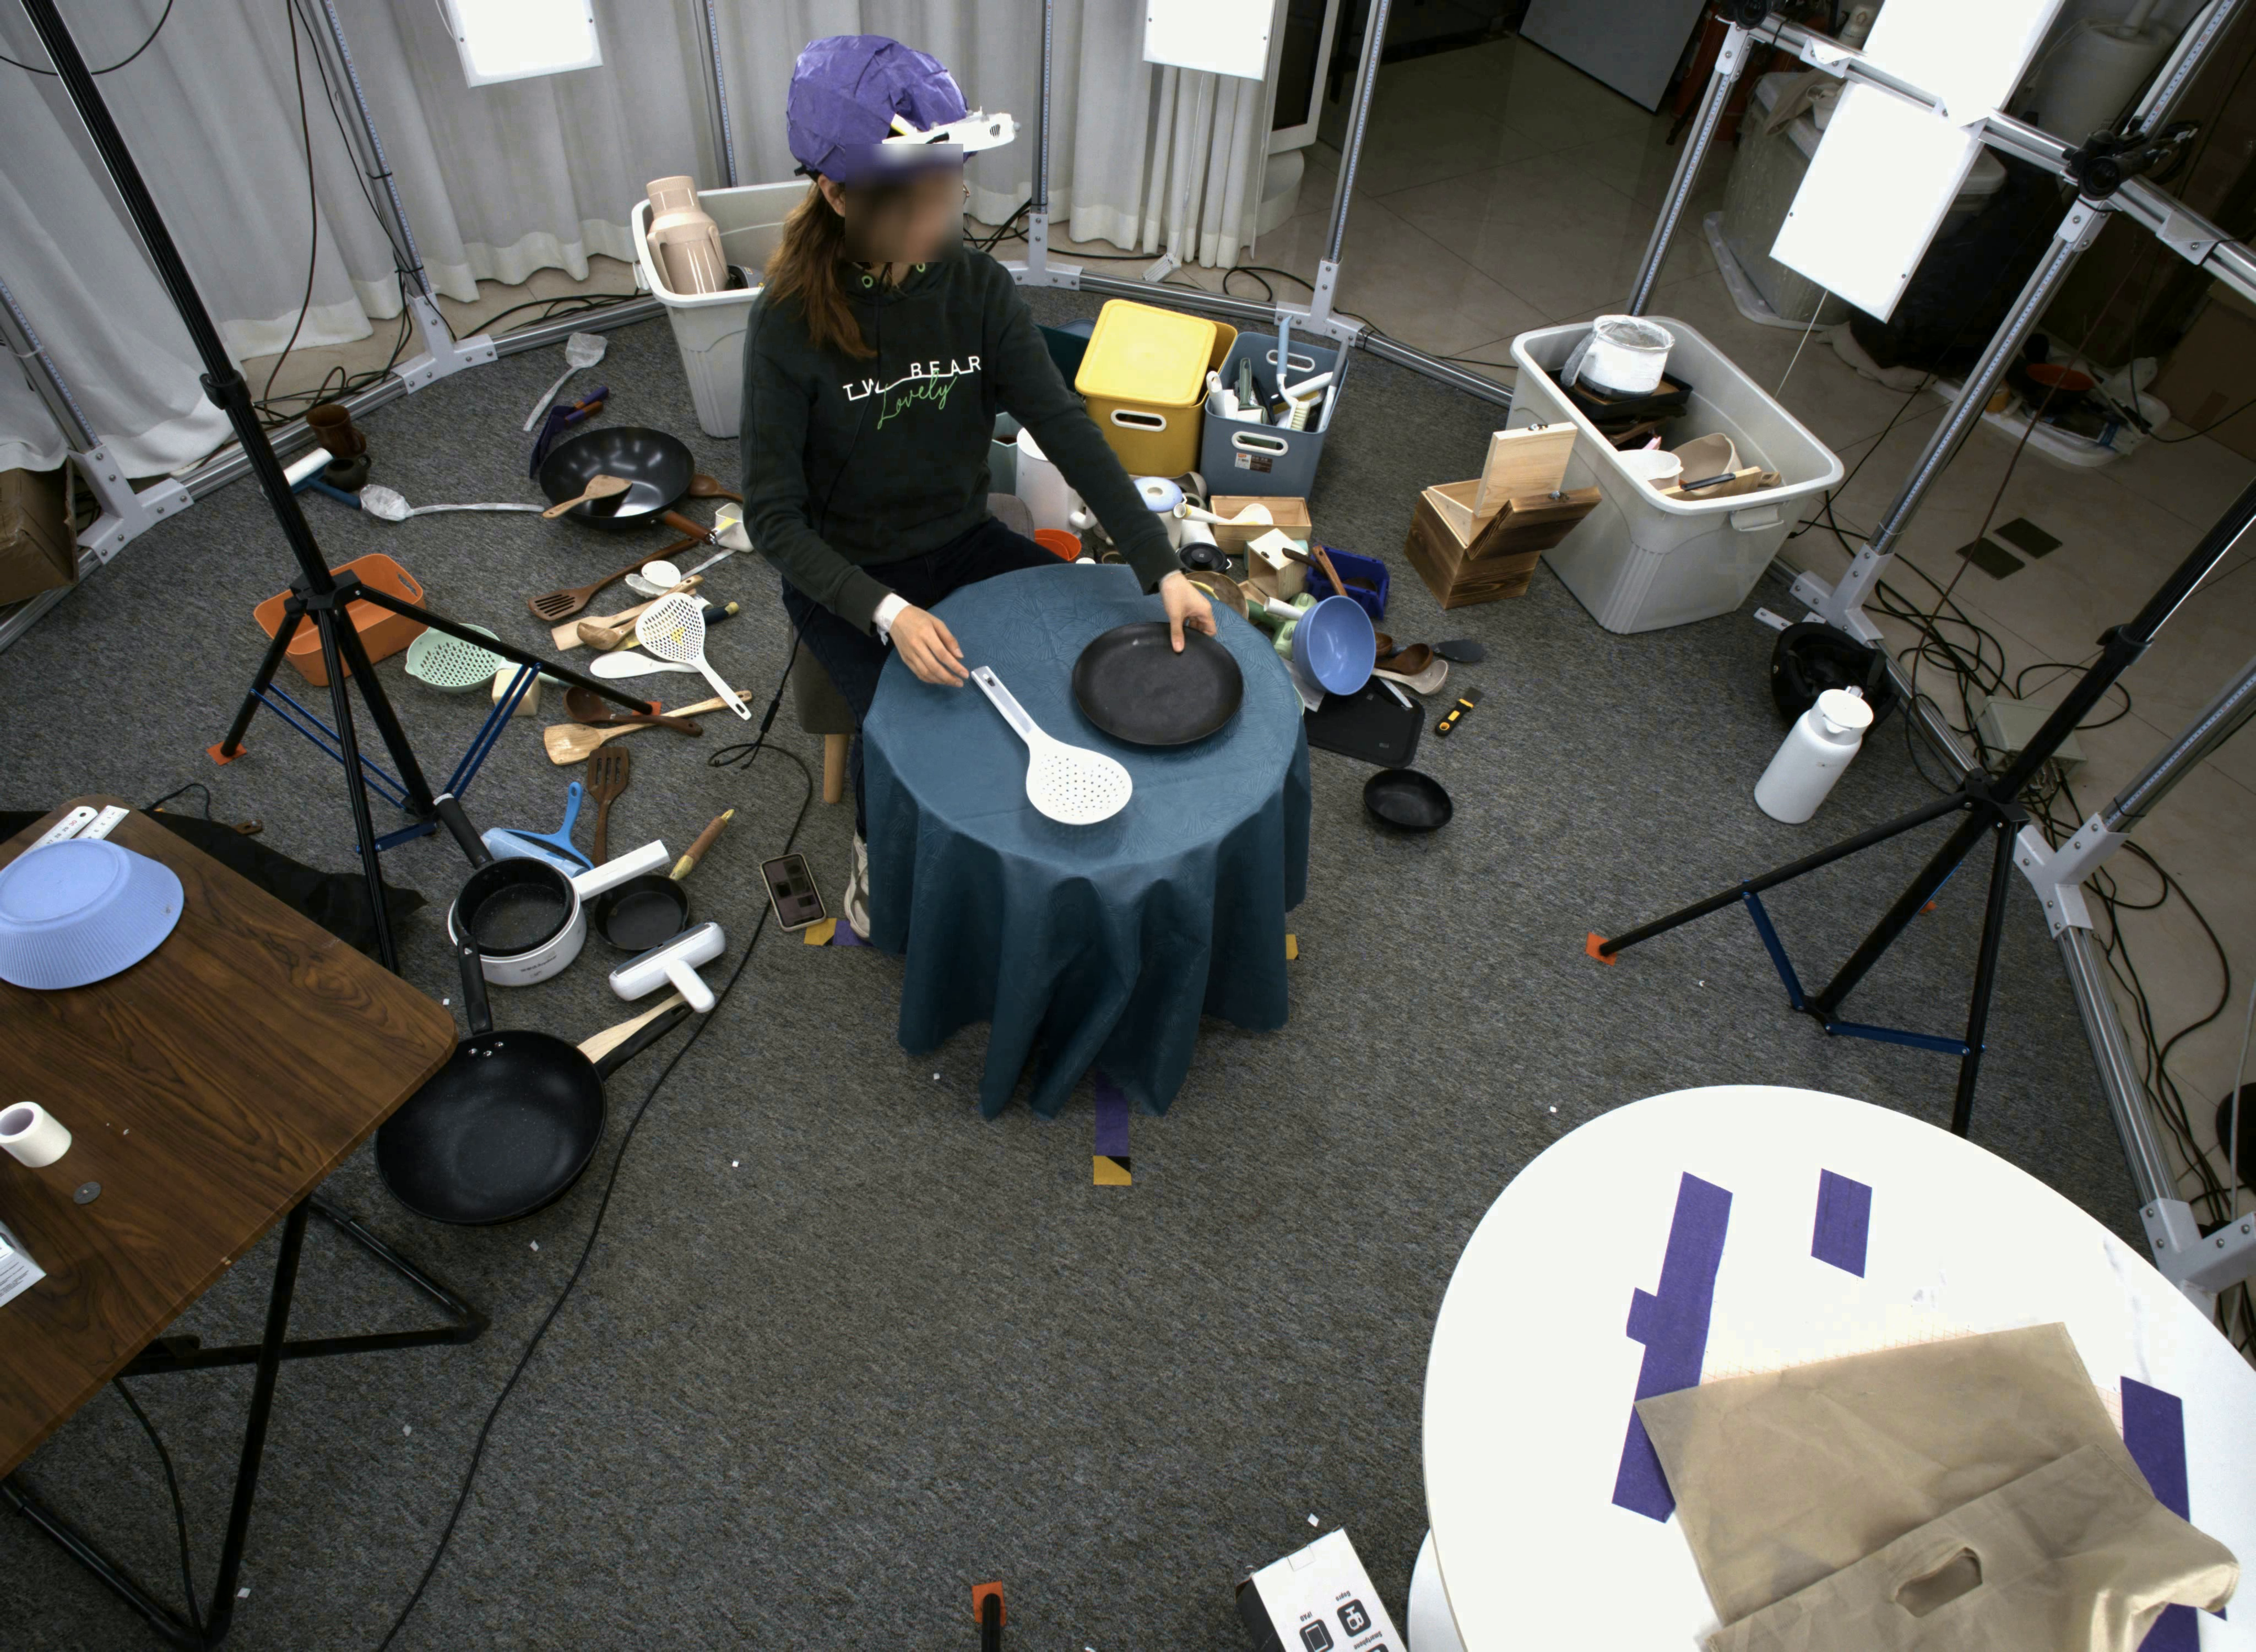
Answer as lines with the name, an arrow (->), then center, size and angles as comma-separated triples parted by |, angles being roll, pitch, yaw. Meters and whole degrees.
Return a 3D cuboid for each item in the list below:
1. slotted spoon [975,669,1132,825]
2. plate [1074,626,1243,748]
slotted spoon -> -0.120, -0.113, 1.745 | 0.136, 0.044, 0.357 | -21, 52, -23
plate -> 0.044, -0.198, 1.842 | 0.244, 0.023, 0.250 | 1, 50, -2
